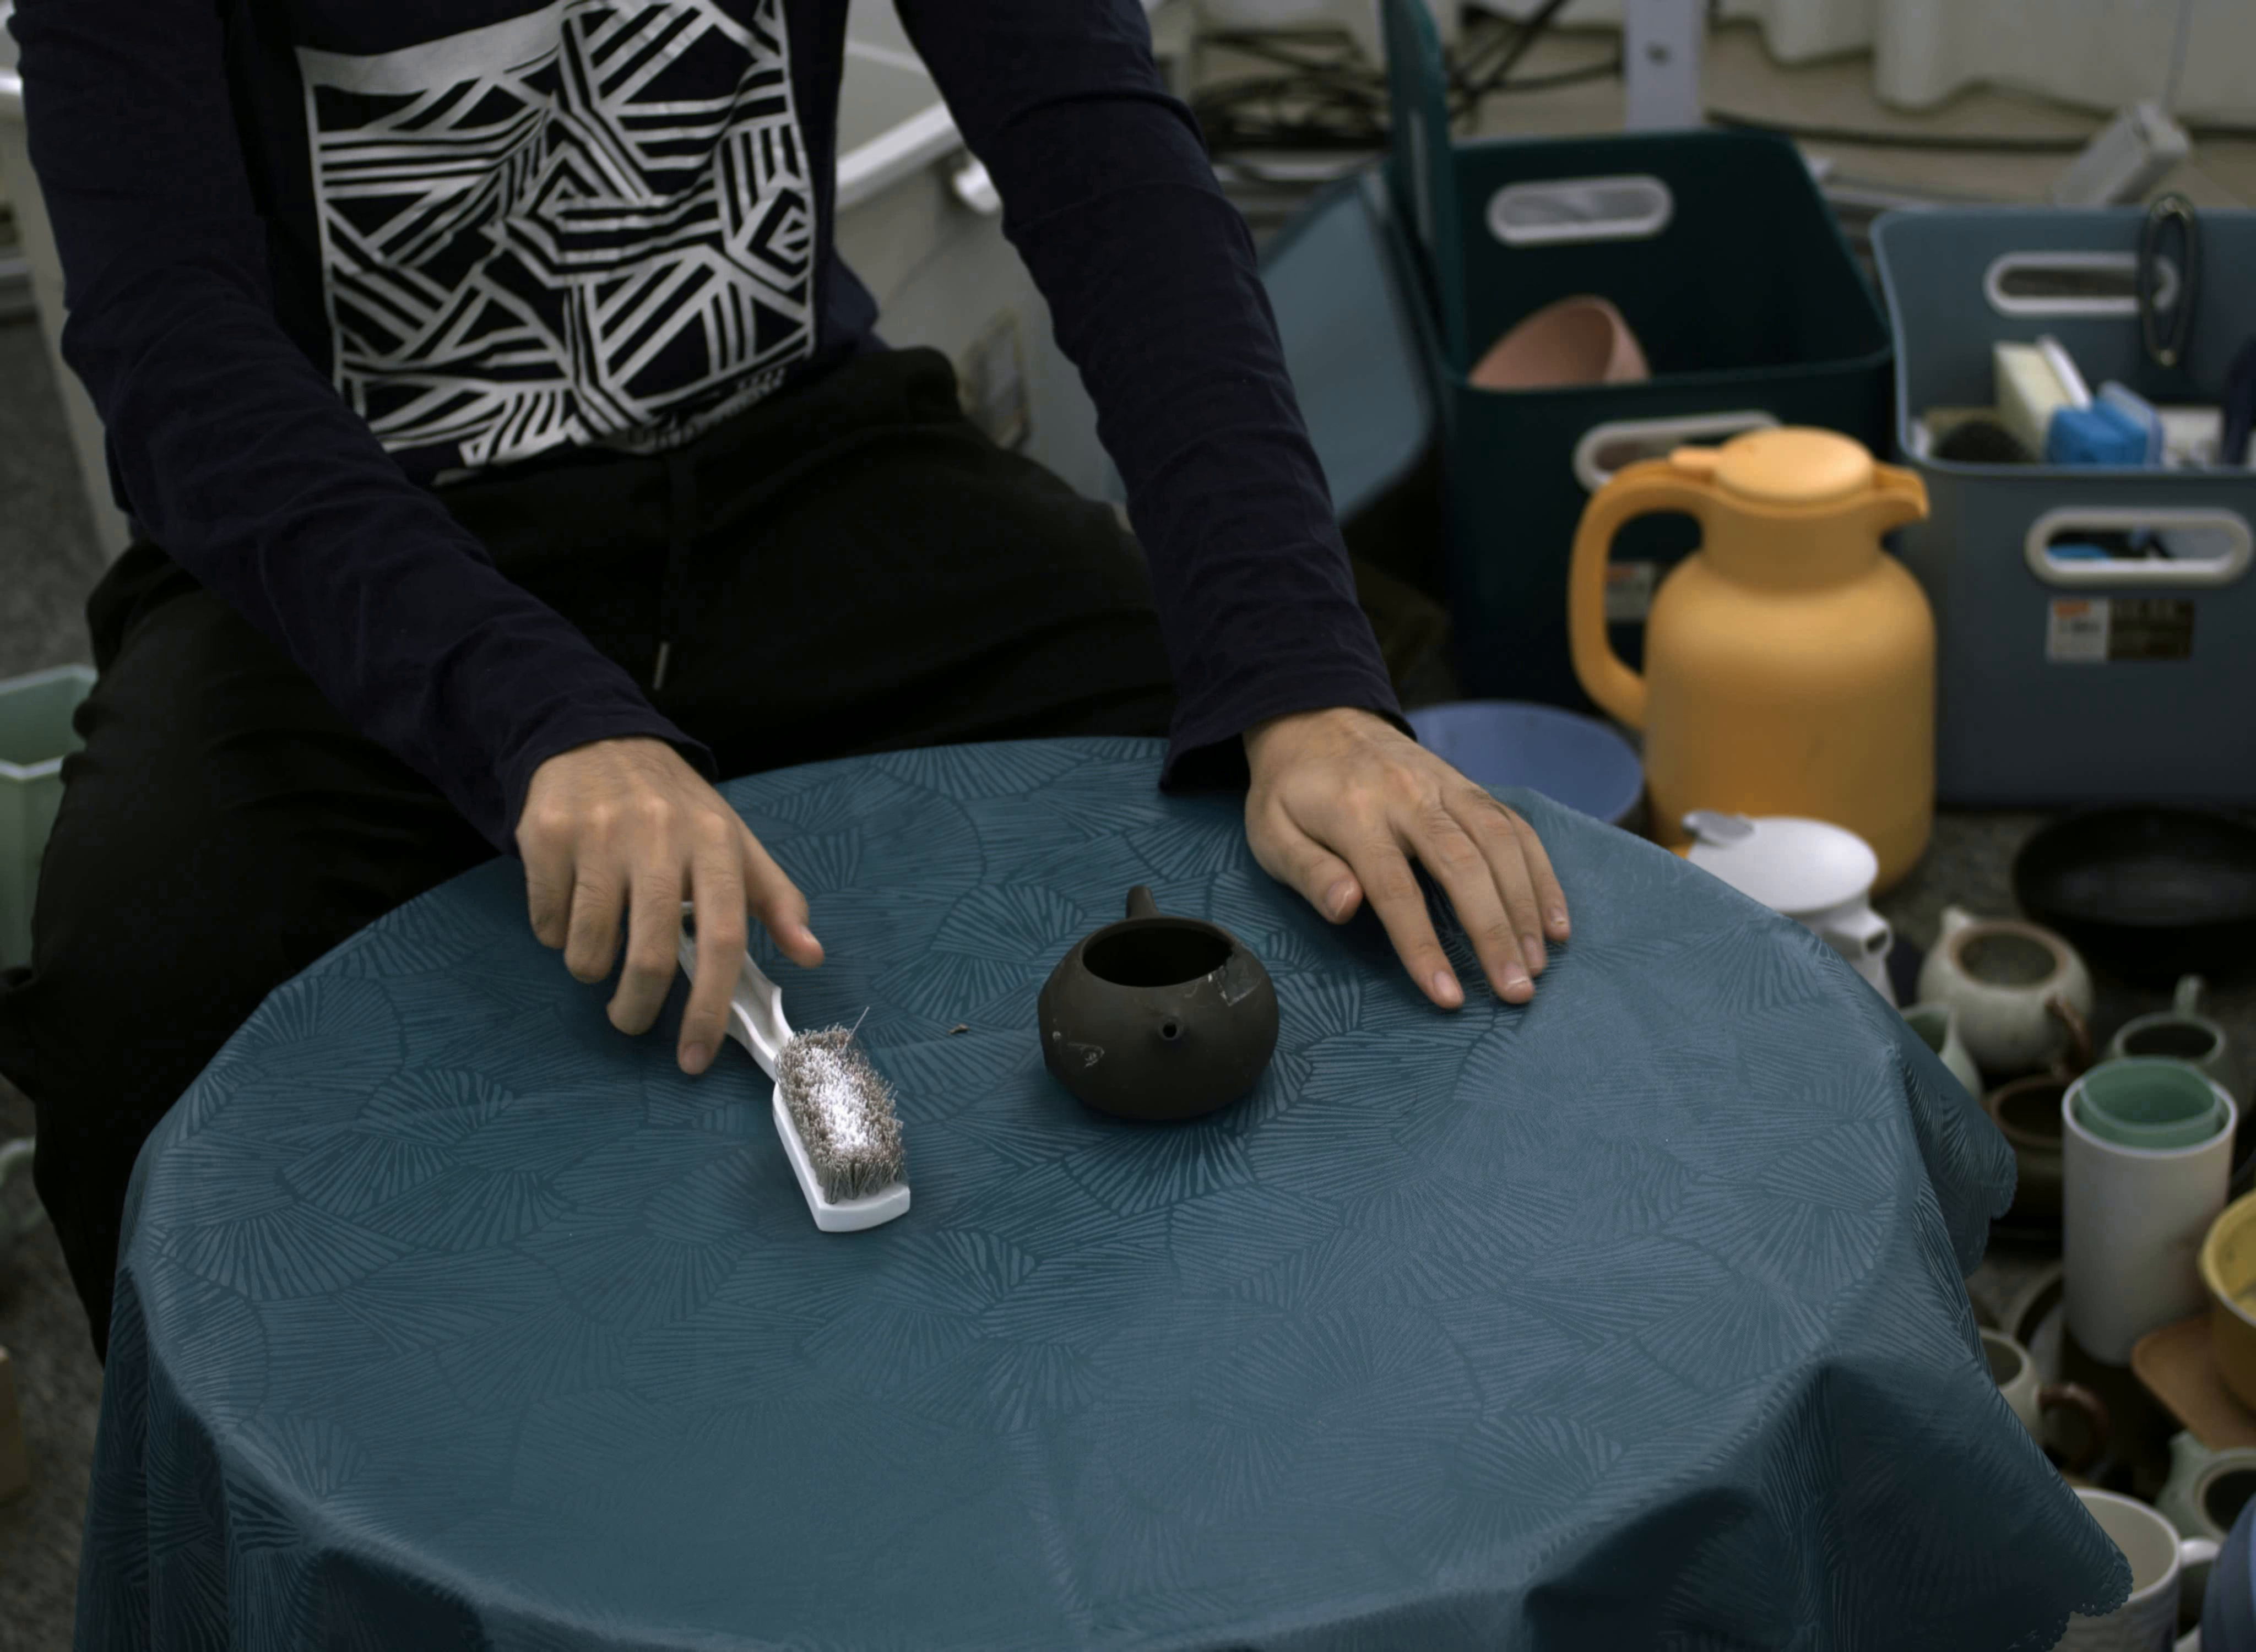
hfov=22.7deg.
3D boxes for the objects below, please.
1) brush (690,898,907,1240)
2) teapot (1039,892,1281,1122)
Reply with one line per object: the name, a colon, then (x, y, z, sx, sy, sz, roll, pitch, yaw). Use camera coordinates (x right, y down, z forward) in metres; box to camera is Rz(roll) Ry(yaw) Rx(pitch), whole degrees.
brush: (-0.119, 0.066, 1.928, 0.034, 0.050, 0.246, -14, 29, -10)
teapot: (0.009, 0.060, 1.923, 0.082, 0.052, 0.115, -6, 28, -3)
